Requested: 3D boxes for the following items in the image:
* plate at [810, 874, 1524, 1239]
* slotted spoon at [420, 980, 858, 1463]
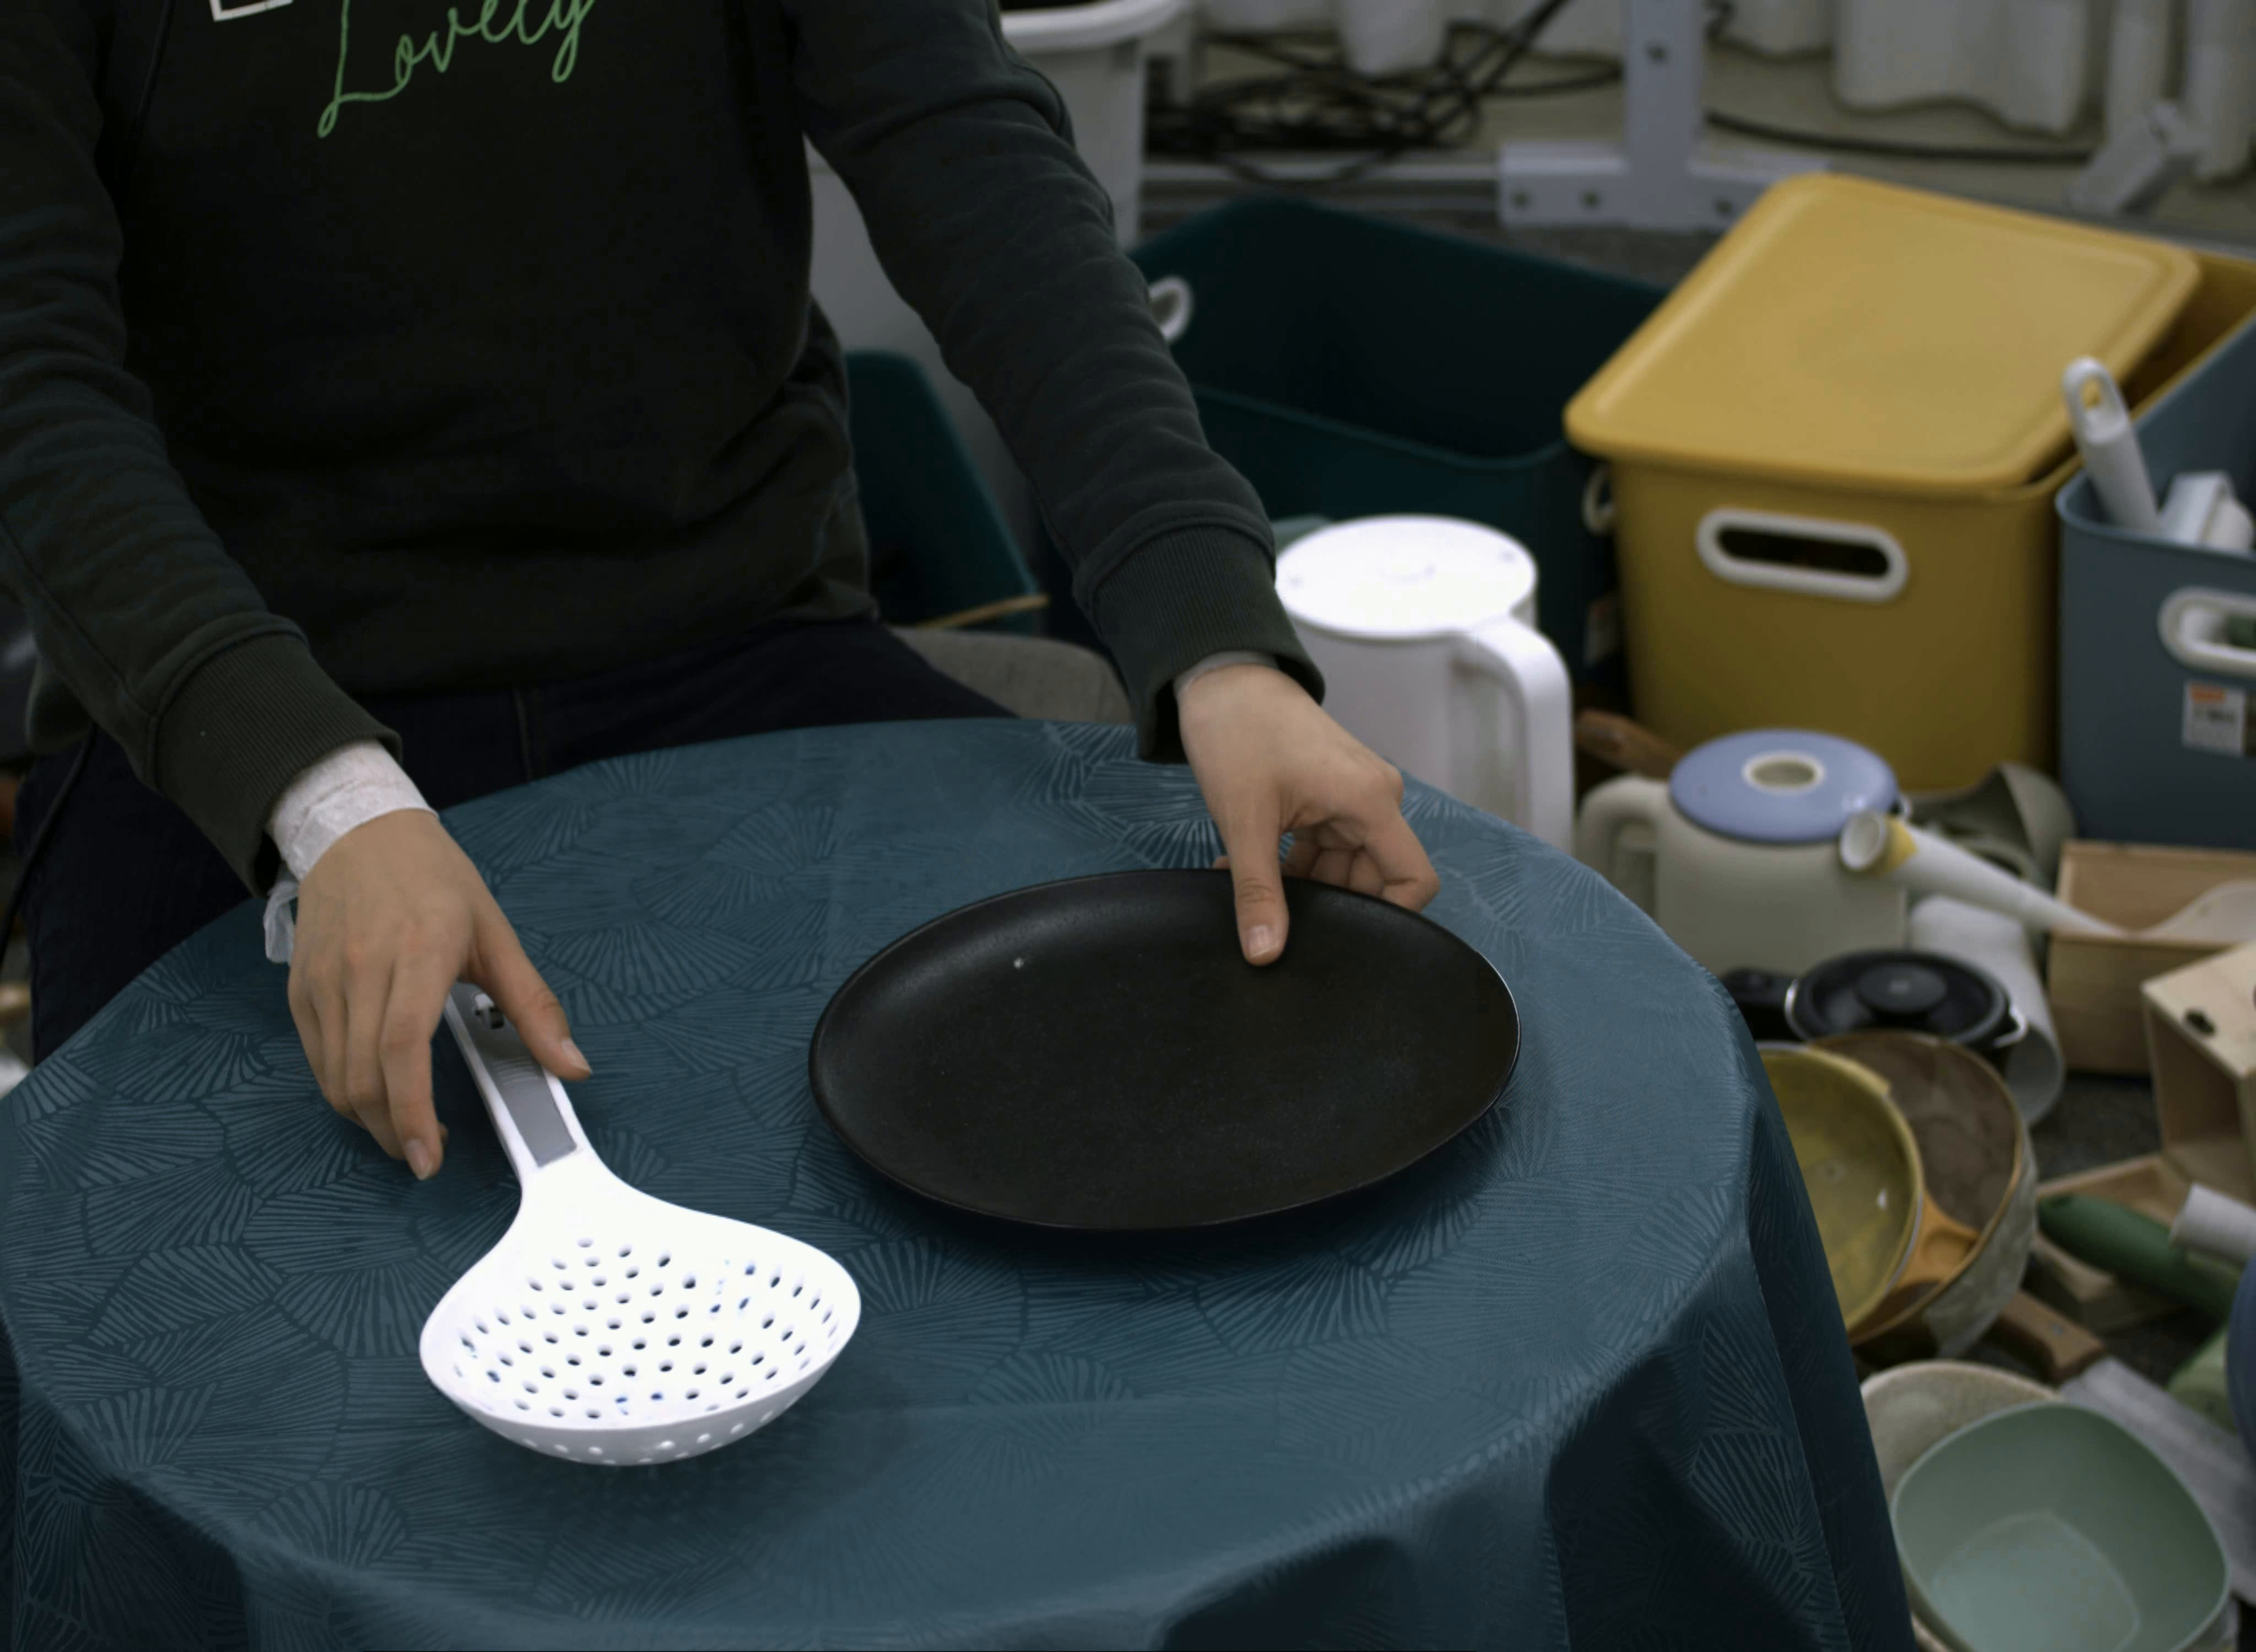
[{"bbox_3d":[0.013,0.082,1.911,0.243,0.023,0.248,-2,27,2],"label":"plate"},{"bbox_3d":[-0.181,0.122,1.829,0.136,0.045,0.353,-8,27,-14],"label":"slotted spoon"}]
